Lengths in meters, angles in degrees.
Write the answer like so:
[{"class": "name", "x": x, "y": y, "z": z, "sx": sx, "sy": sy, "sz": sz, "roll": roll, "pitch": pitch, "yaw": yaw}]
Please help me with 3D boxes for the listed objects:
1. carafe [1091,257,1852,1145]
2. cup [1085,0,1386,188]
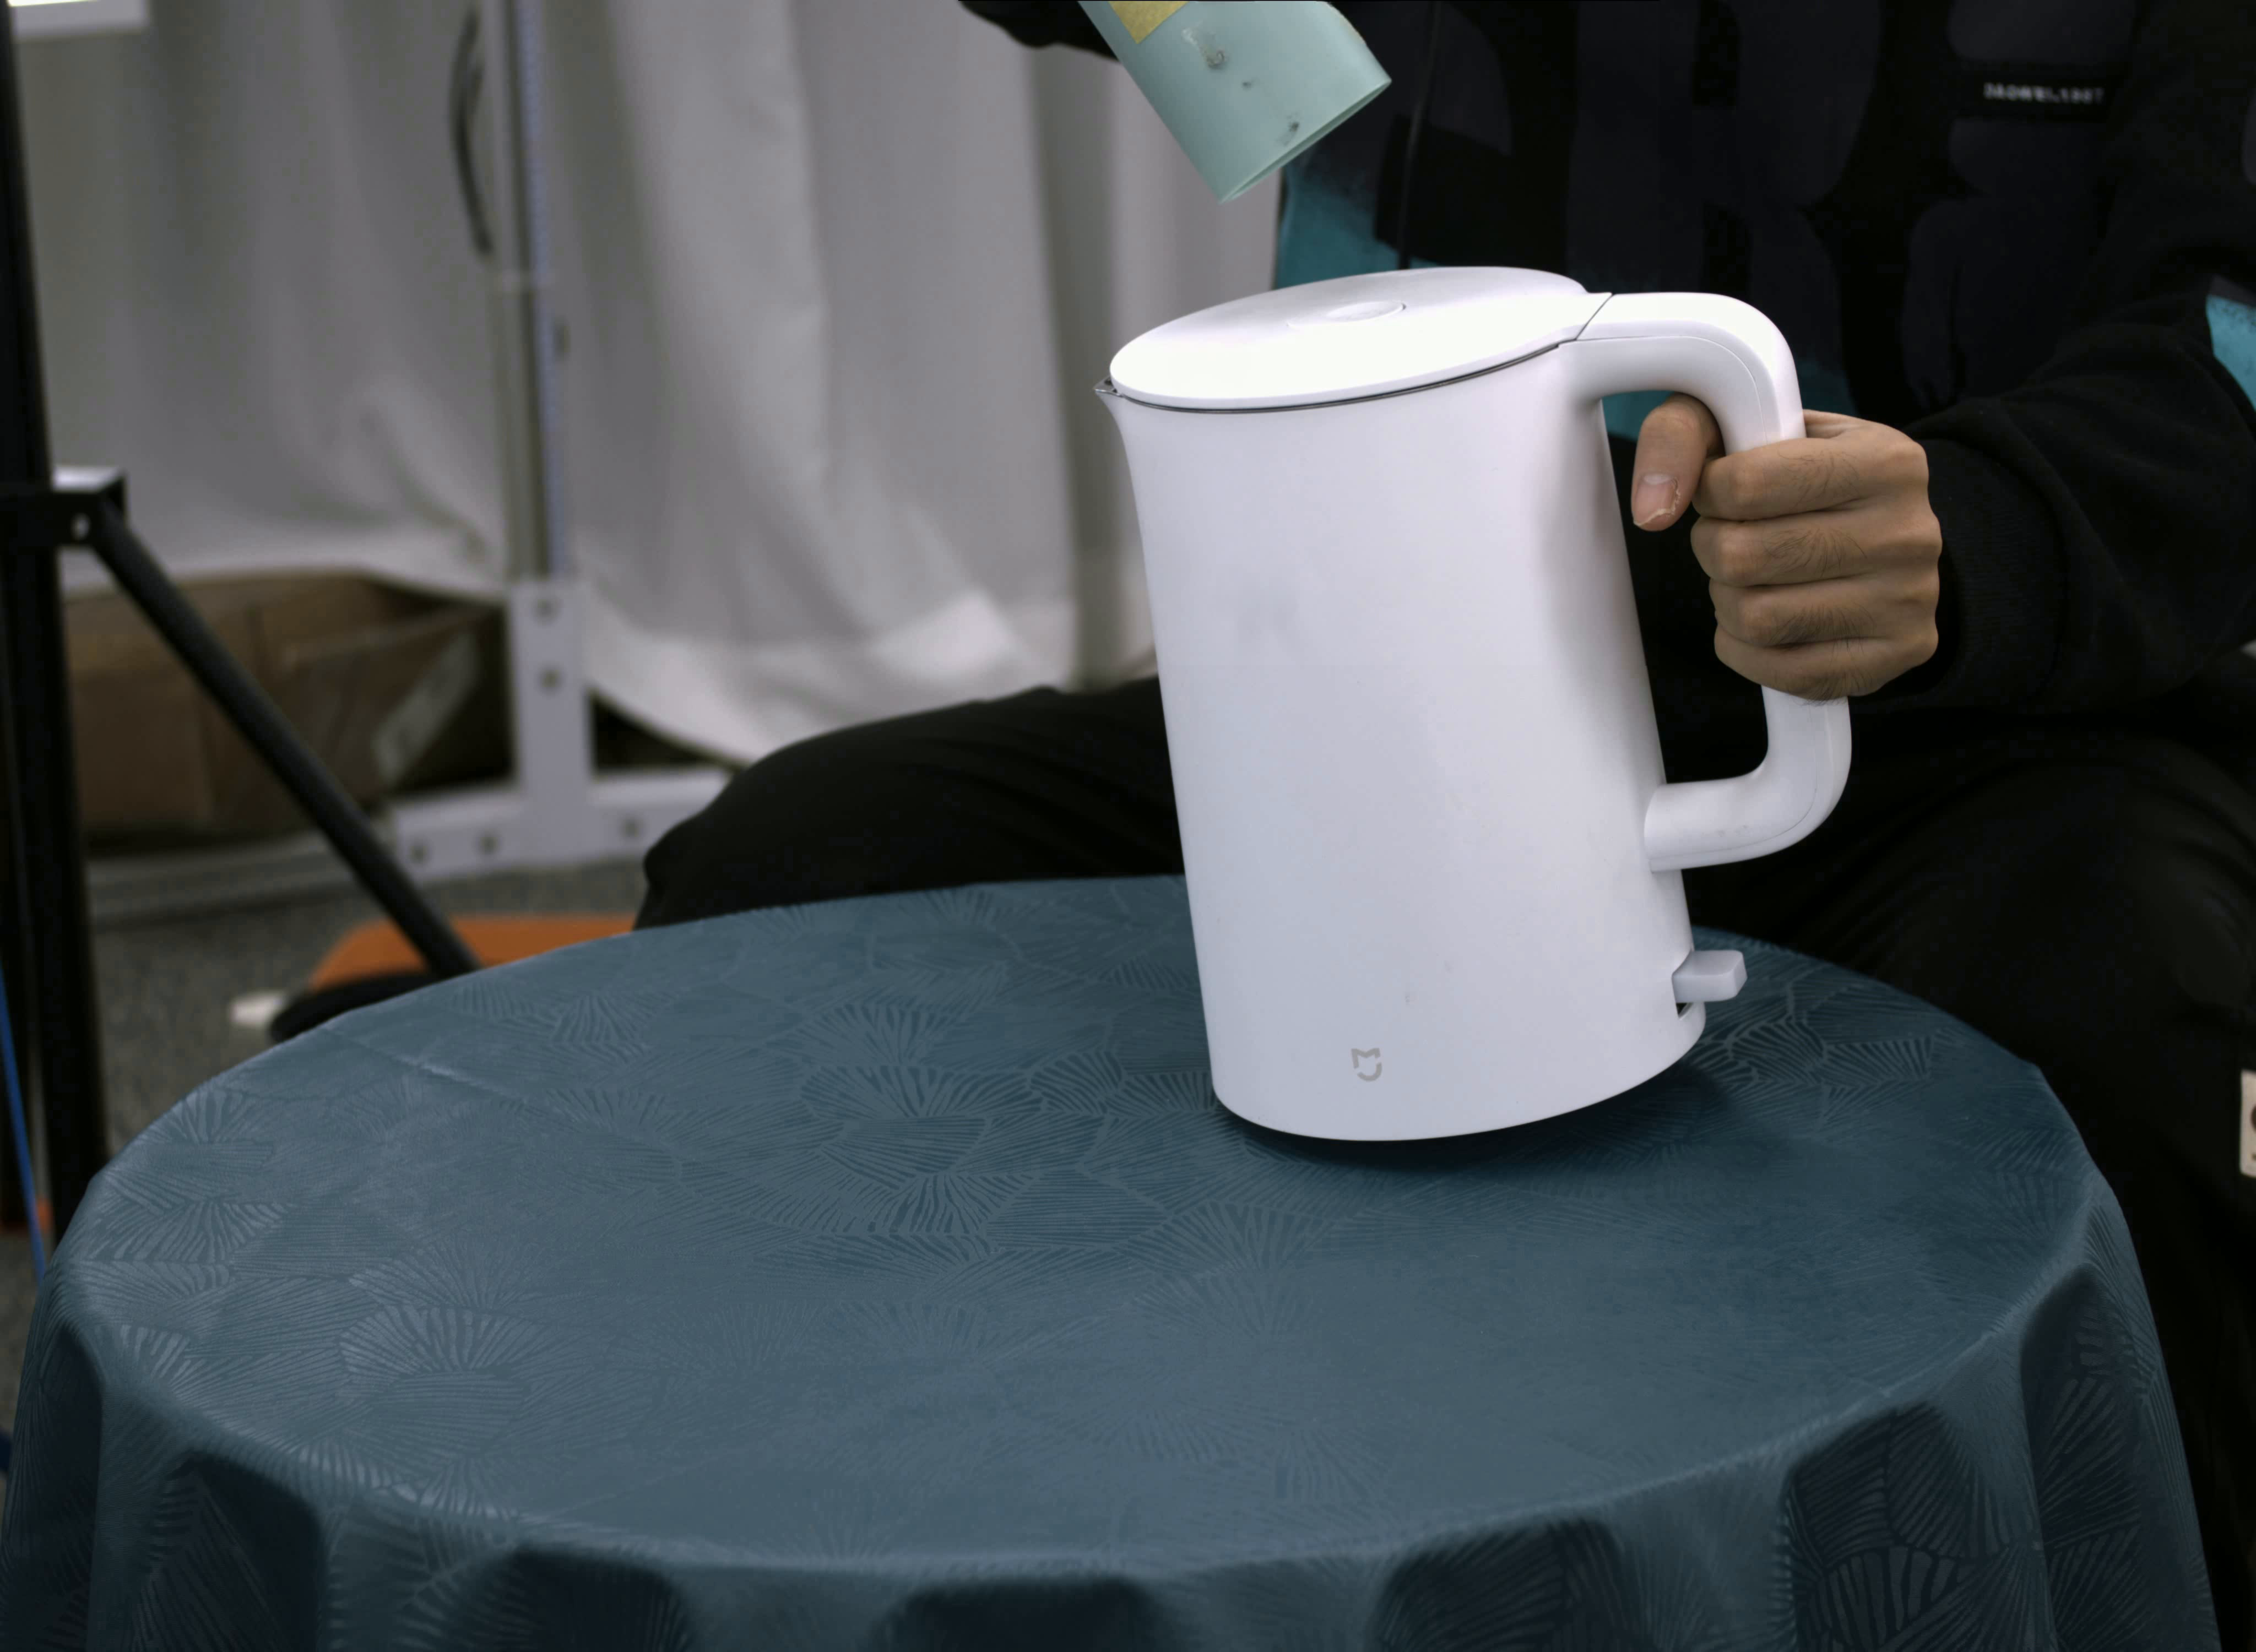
[{"class": "carafe", "x": 0.107, "y": -0.040, "z": 1.580, "sx": 0.216, "sy": 0.239, "sz": 0.150, "roll": -4, "pitch": 18, "yaw": 23}, {"class": "cup", "x": 0.013, "y": -0.258, "z": 1.569, "sx": 0.066, "sy": 0.132, "sz": 0.067, "roll": -36, "pitch": 0, "yaw": -1}]
